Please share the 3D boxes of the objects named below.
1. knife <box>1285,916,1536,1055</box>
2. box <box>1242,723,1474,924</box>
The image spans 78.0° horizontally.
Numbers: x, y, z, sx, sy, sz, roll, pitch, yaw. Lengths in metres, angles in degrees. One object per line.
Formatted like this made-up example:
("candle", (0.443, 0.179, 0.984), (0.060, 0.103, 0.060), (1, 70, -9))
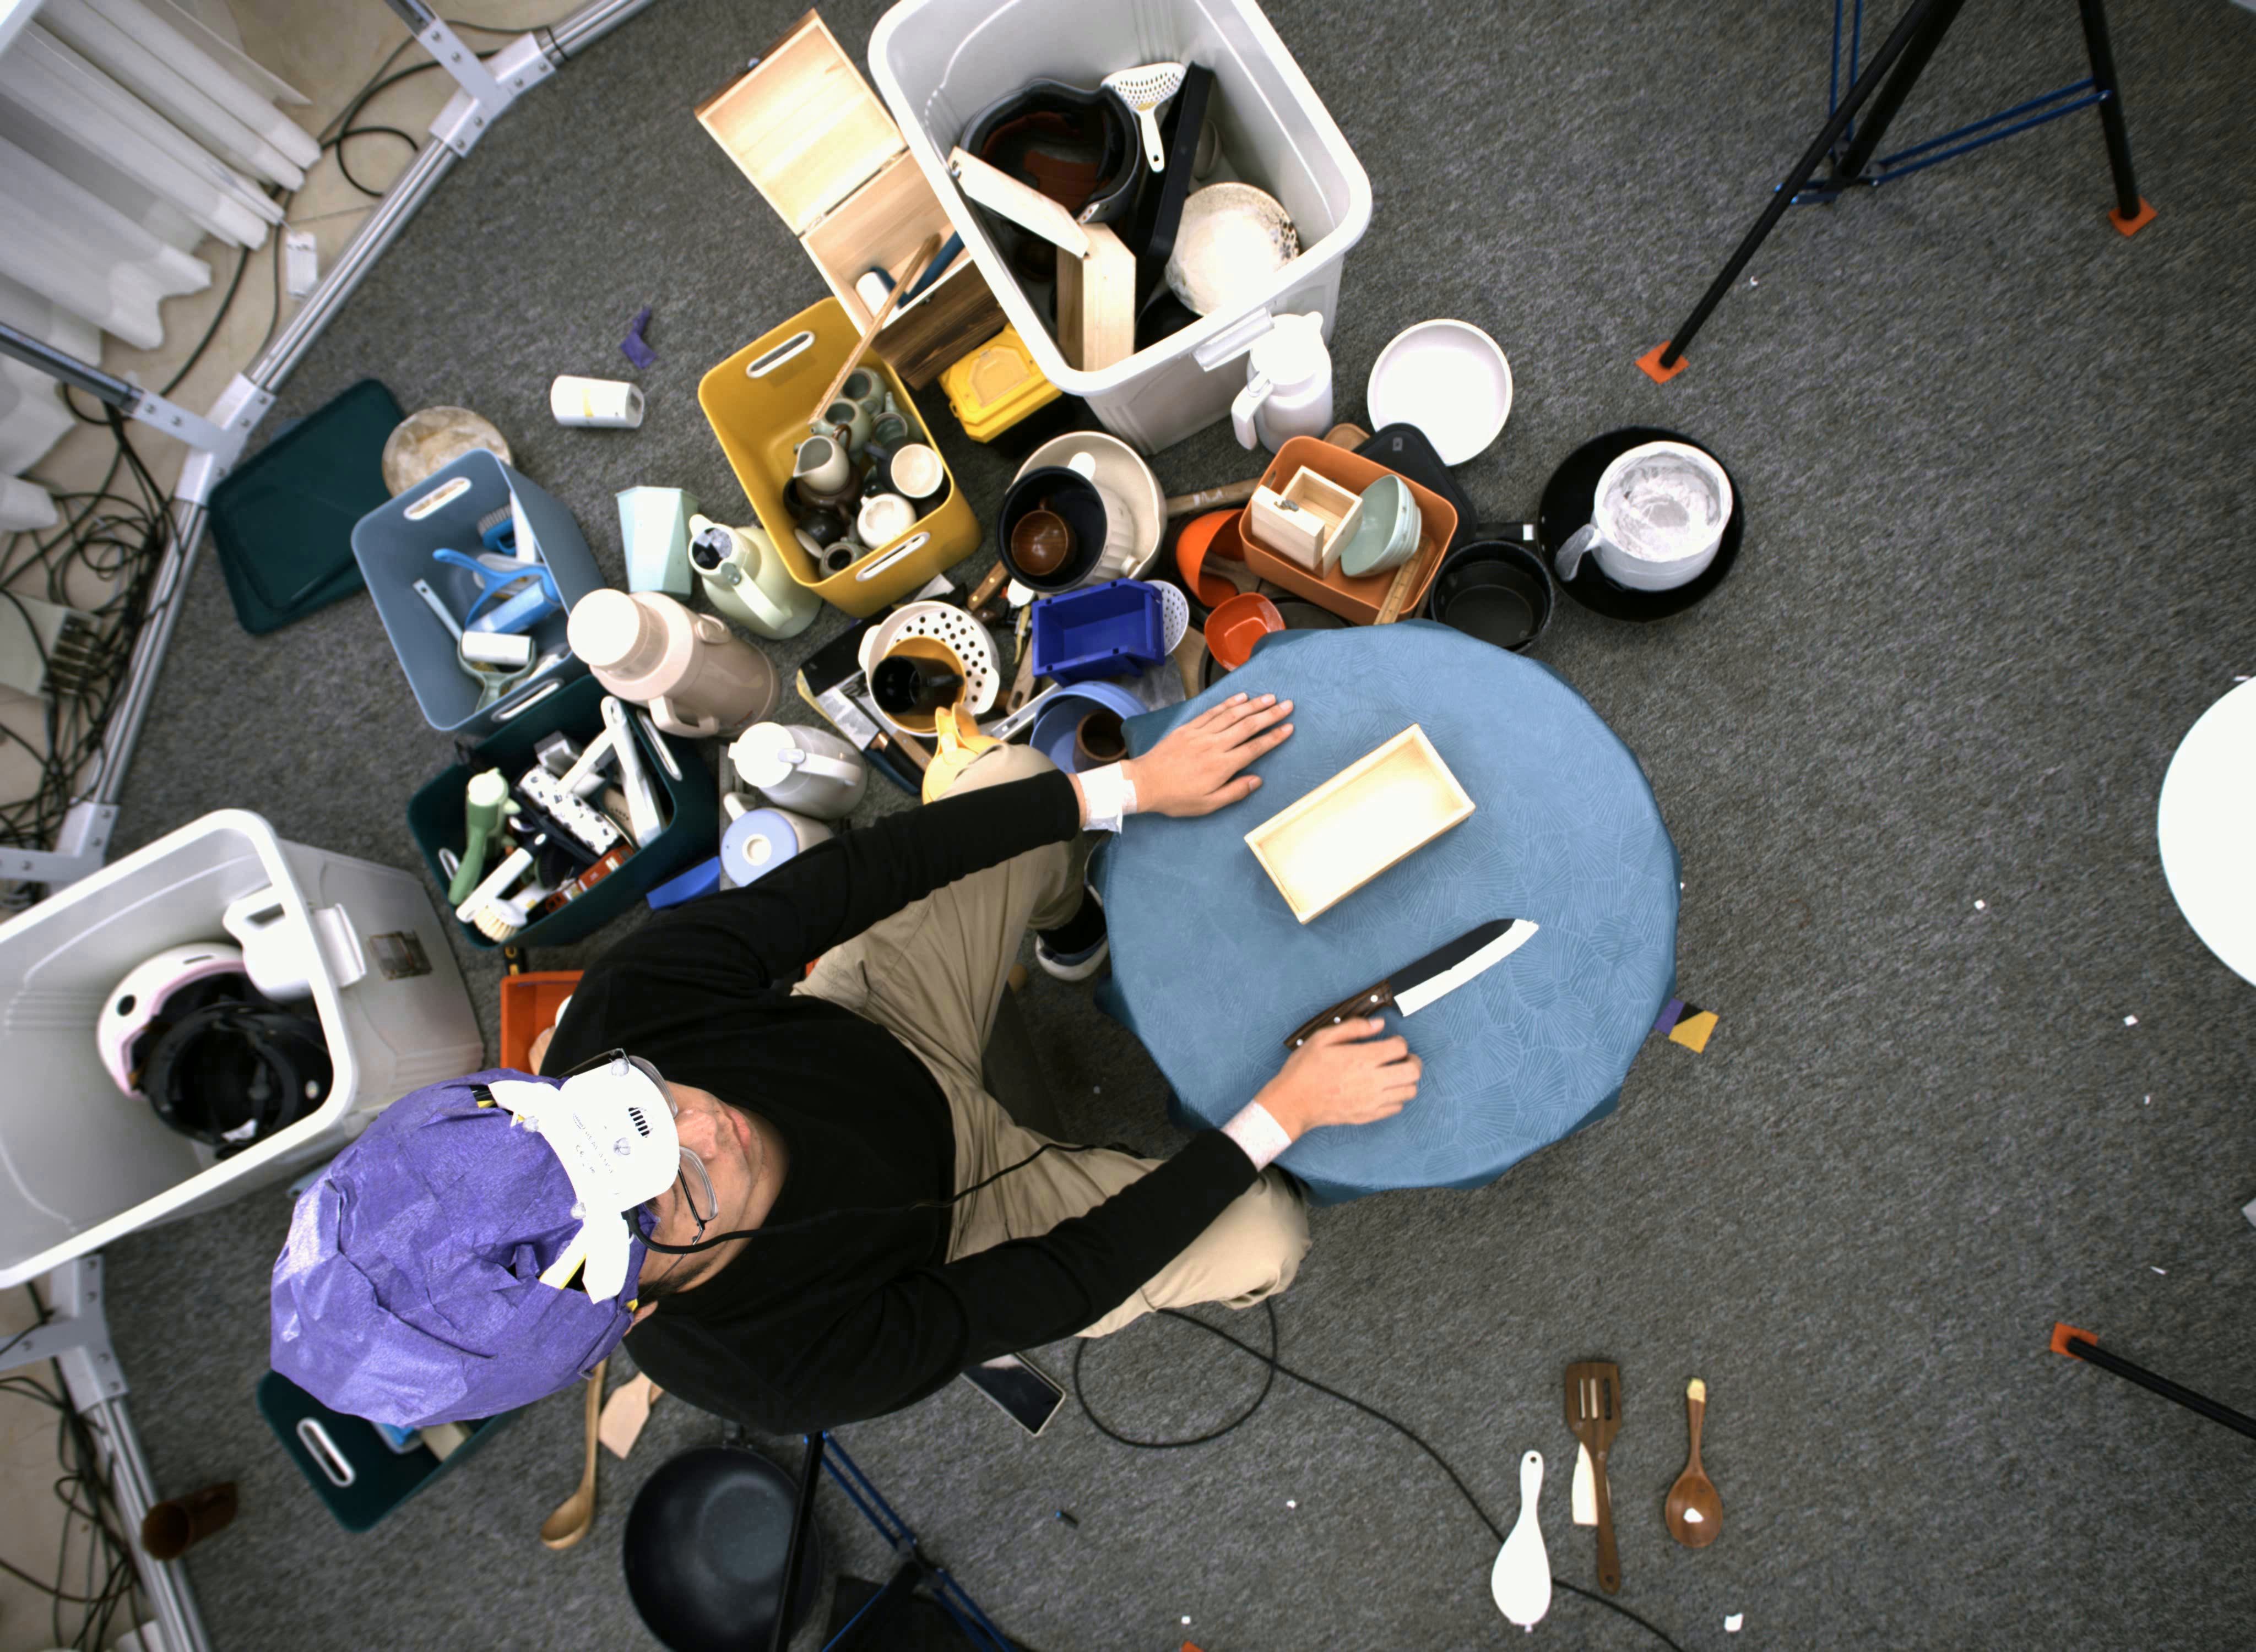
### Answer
("knife", (0.296, 0.165, 1.443), (0.290, 0.020, 0.050), (-27, 87, 5))
("box", (0.238, -0.001, 1.430), (0.212, 0.080, 0.107), (-34, 80, 6))
